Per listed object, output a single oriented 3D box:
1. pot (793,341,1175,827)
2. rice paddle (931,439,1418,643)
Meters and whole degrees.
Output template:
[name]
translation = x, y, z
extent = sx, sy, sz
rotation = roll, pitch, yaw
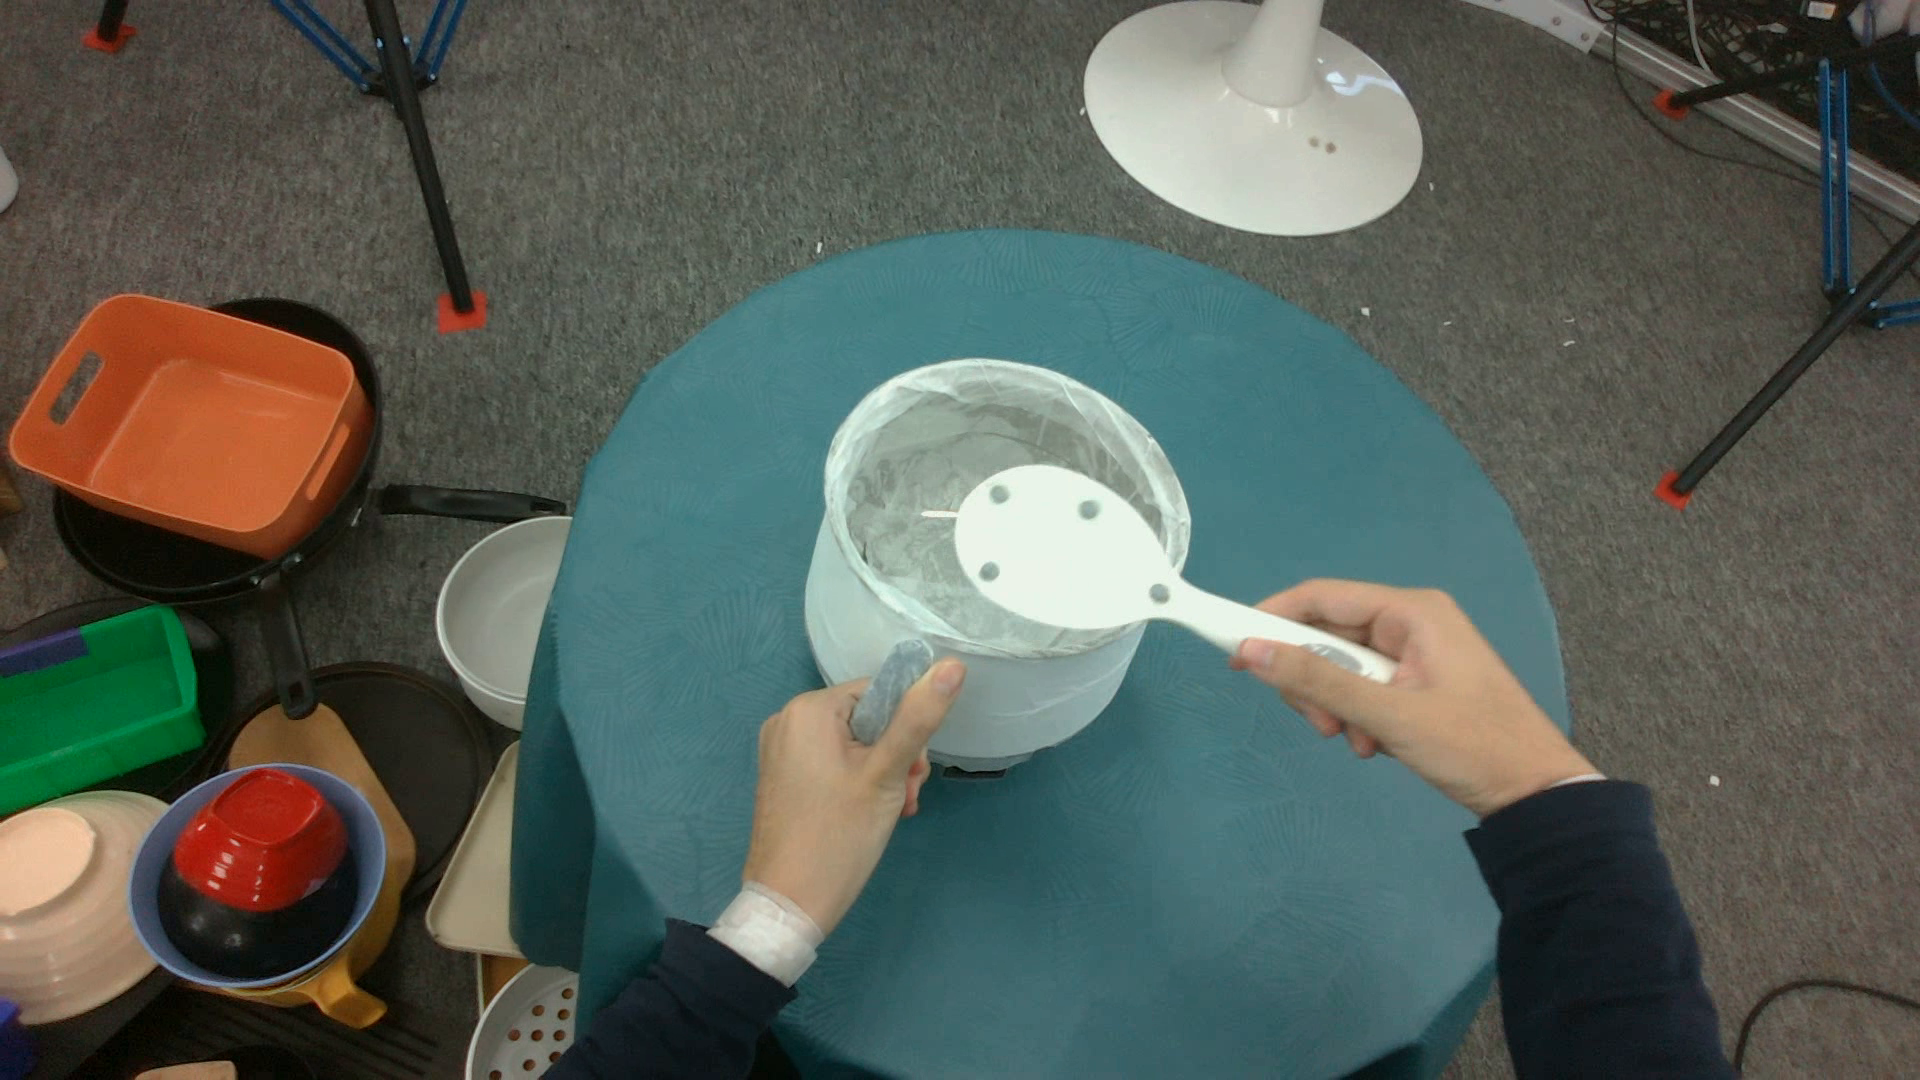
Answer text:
[pot]
translation = -0.005, 0.026, 0.682
extent = 0.178, 0.136, 0.235
rotation = 23, 51, 8
[rice paddle]
translation = 0.087, 0.004, 0.581
extent = 0.205, 0.029, 0.069
rotation = 14, 73, 5
